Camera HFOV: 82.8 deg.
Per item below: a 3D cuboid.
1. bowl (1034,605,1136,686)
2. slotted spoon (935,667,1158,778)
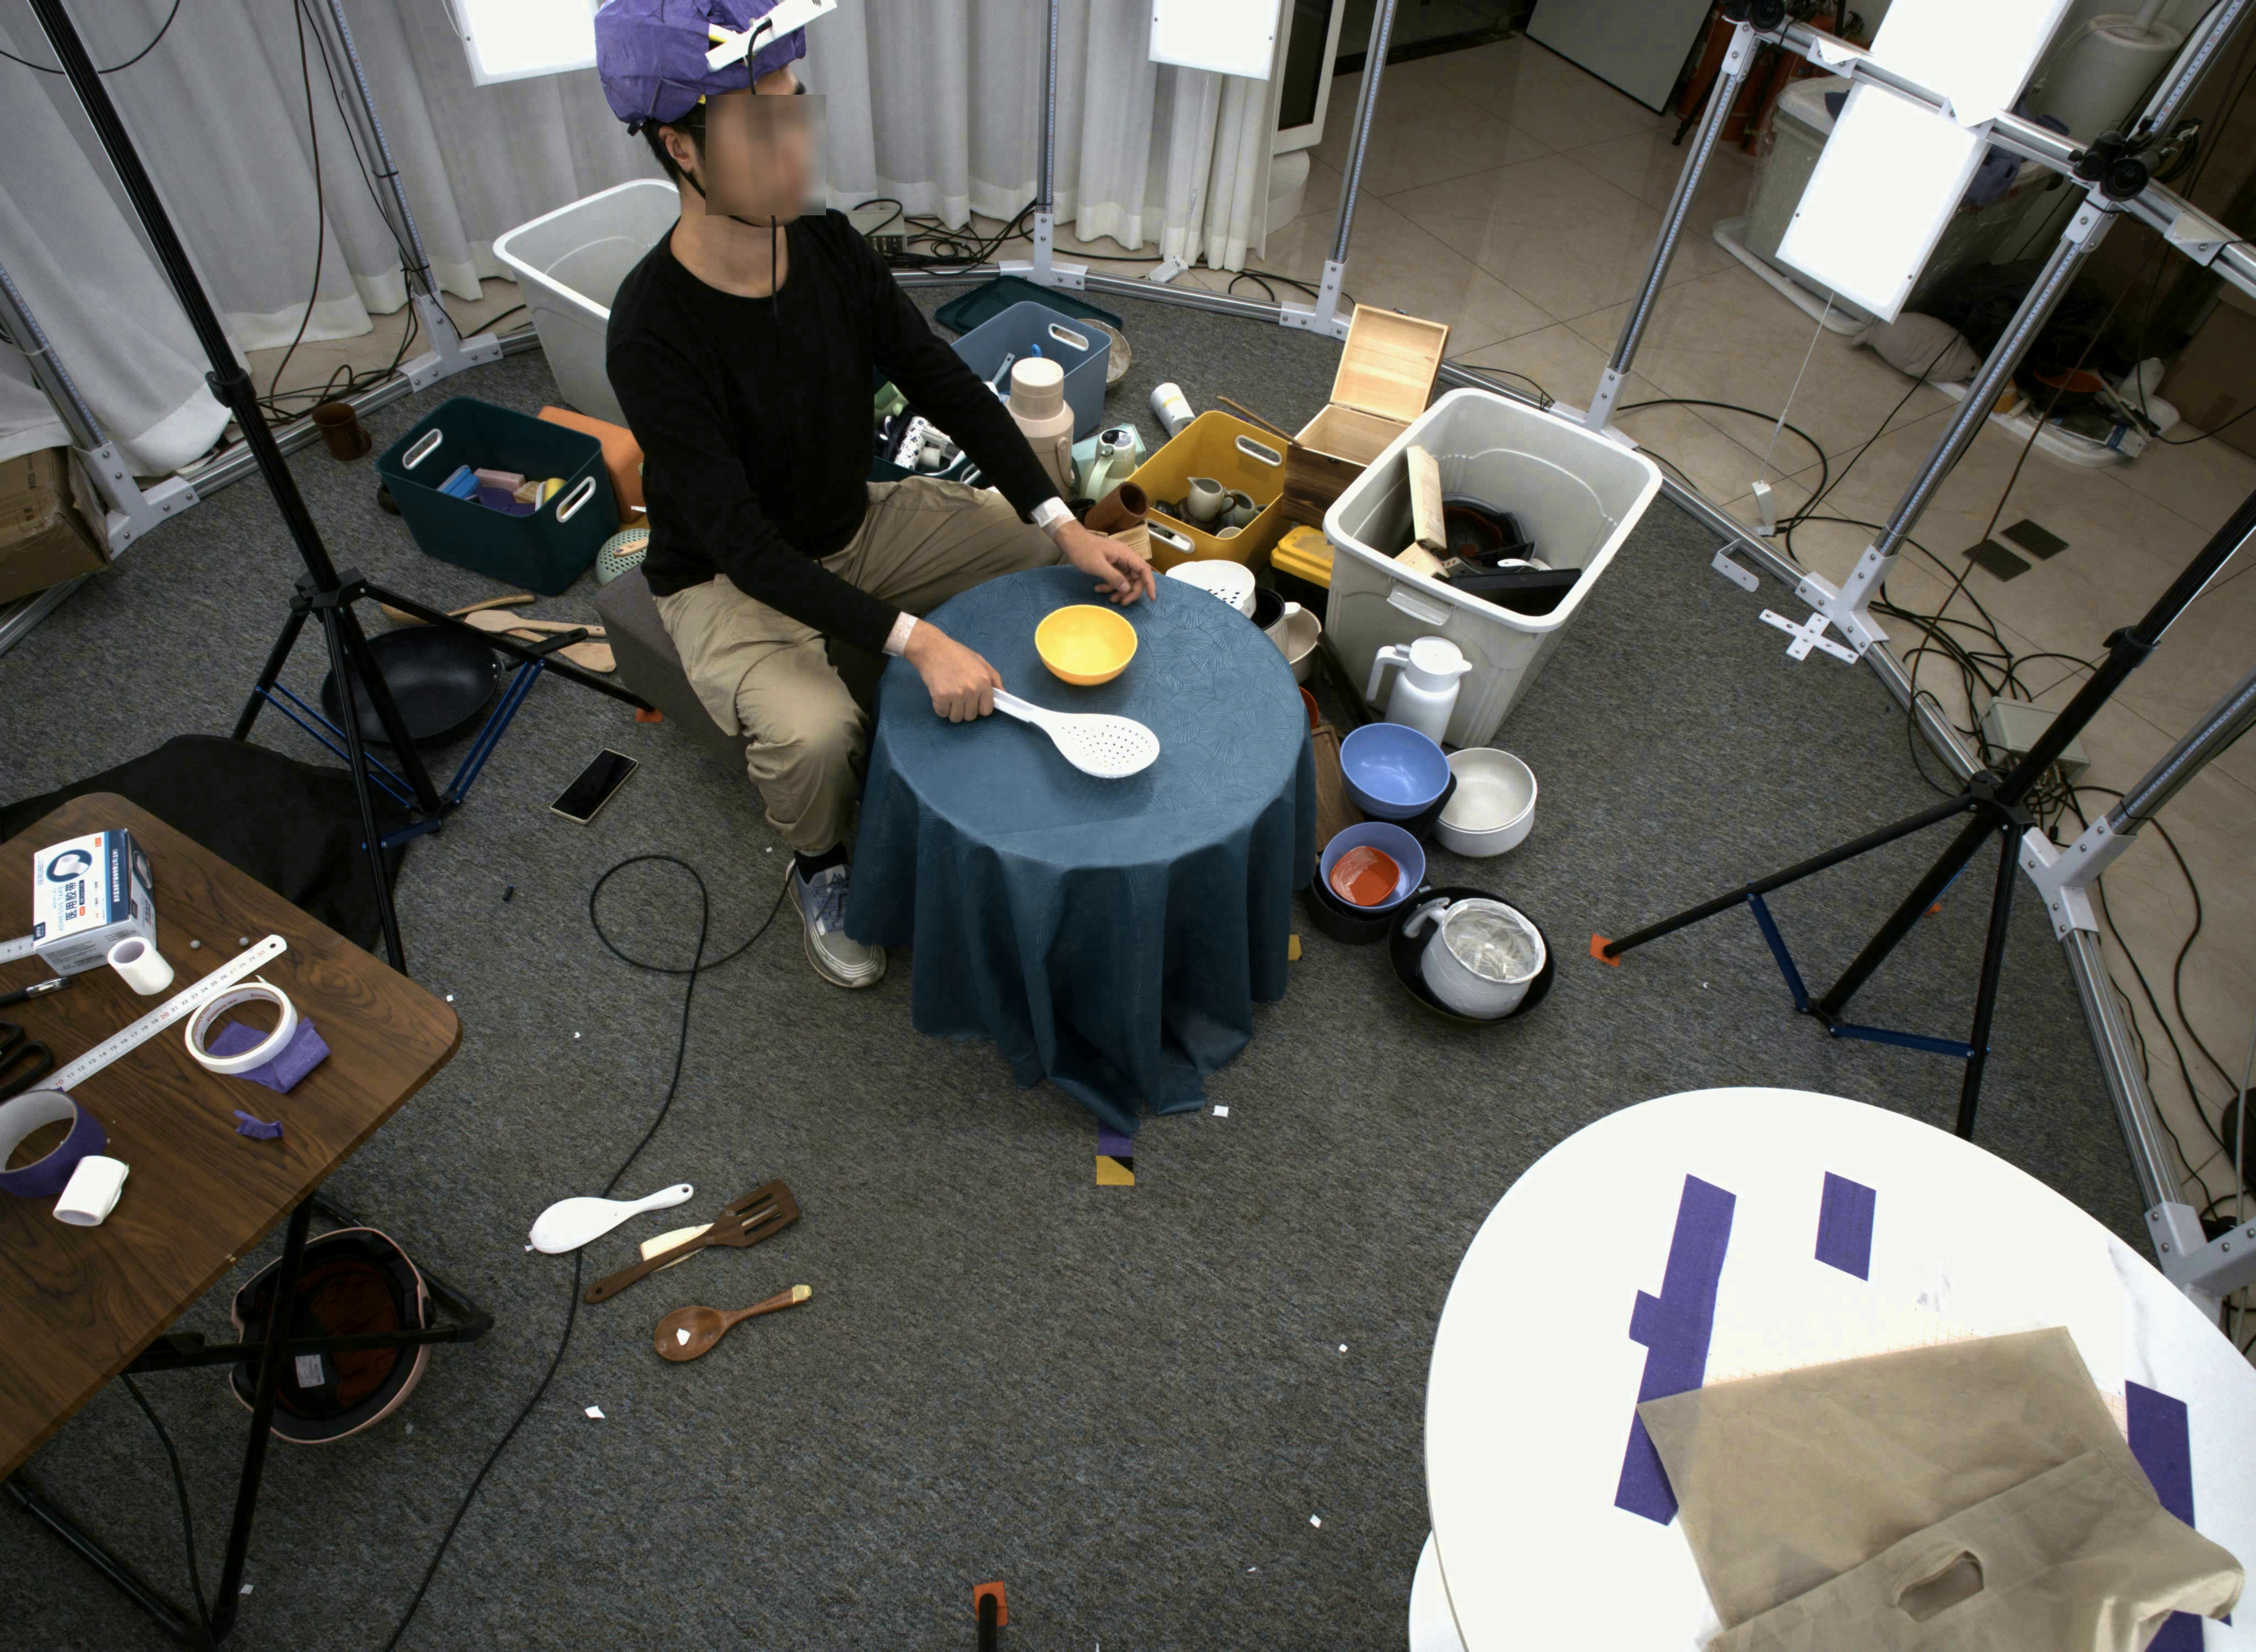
[{"bbox_3d":[-0.063,-0.247,1.844,0.145,0.059,0.149,3,50,-4],"label":"bowl"},{"bbox_3d":[-0.119,-0.148,1.756,0.353,0.045,0.138,28,42,19],"label":"slotted spoon"}]
